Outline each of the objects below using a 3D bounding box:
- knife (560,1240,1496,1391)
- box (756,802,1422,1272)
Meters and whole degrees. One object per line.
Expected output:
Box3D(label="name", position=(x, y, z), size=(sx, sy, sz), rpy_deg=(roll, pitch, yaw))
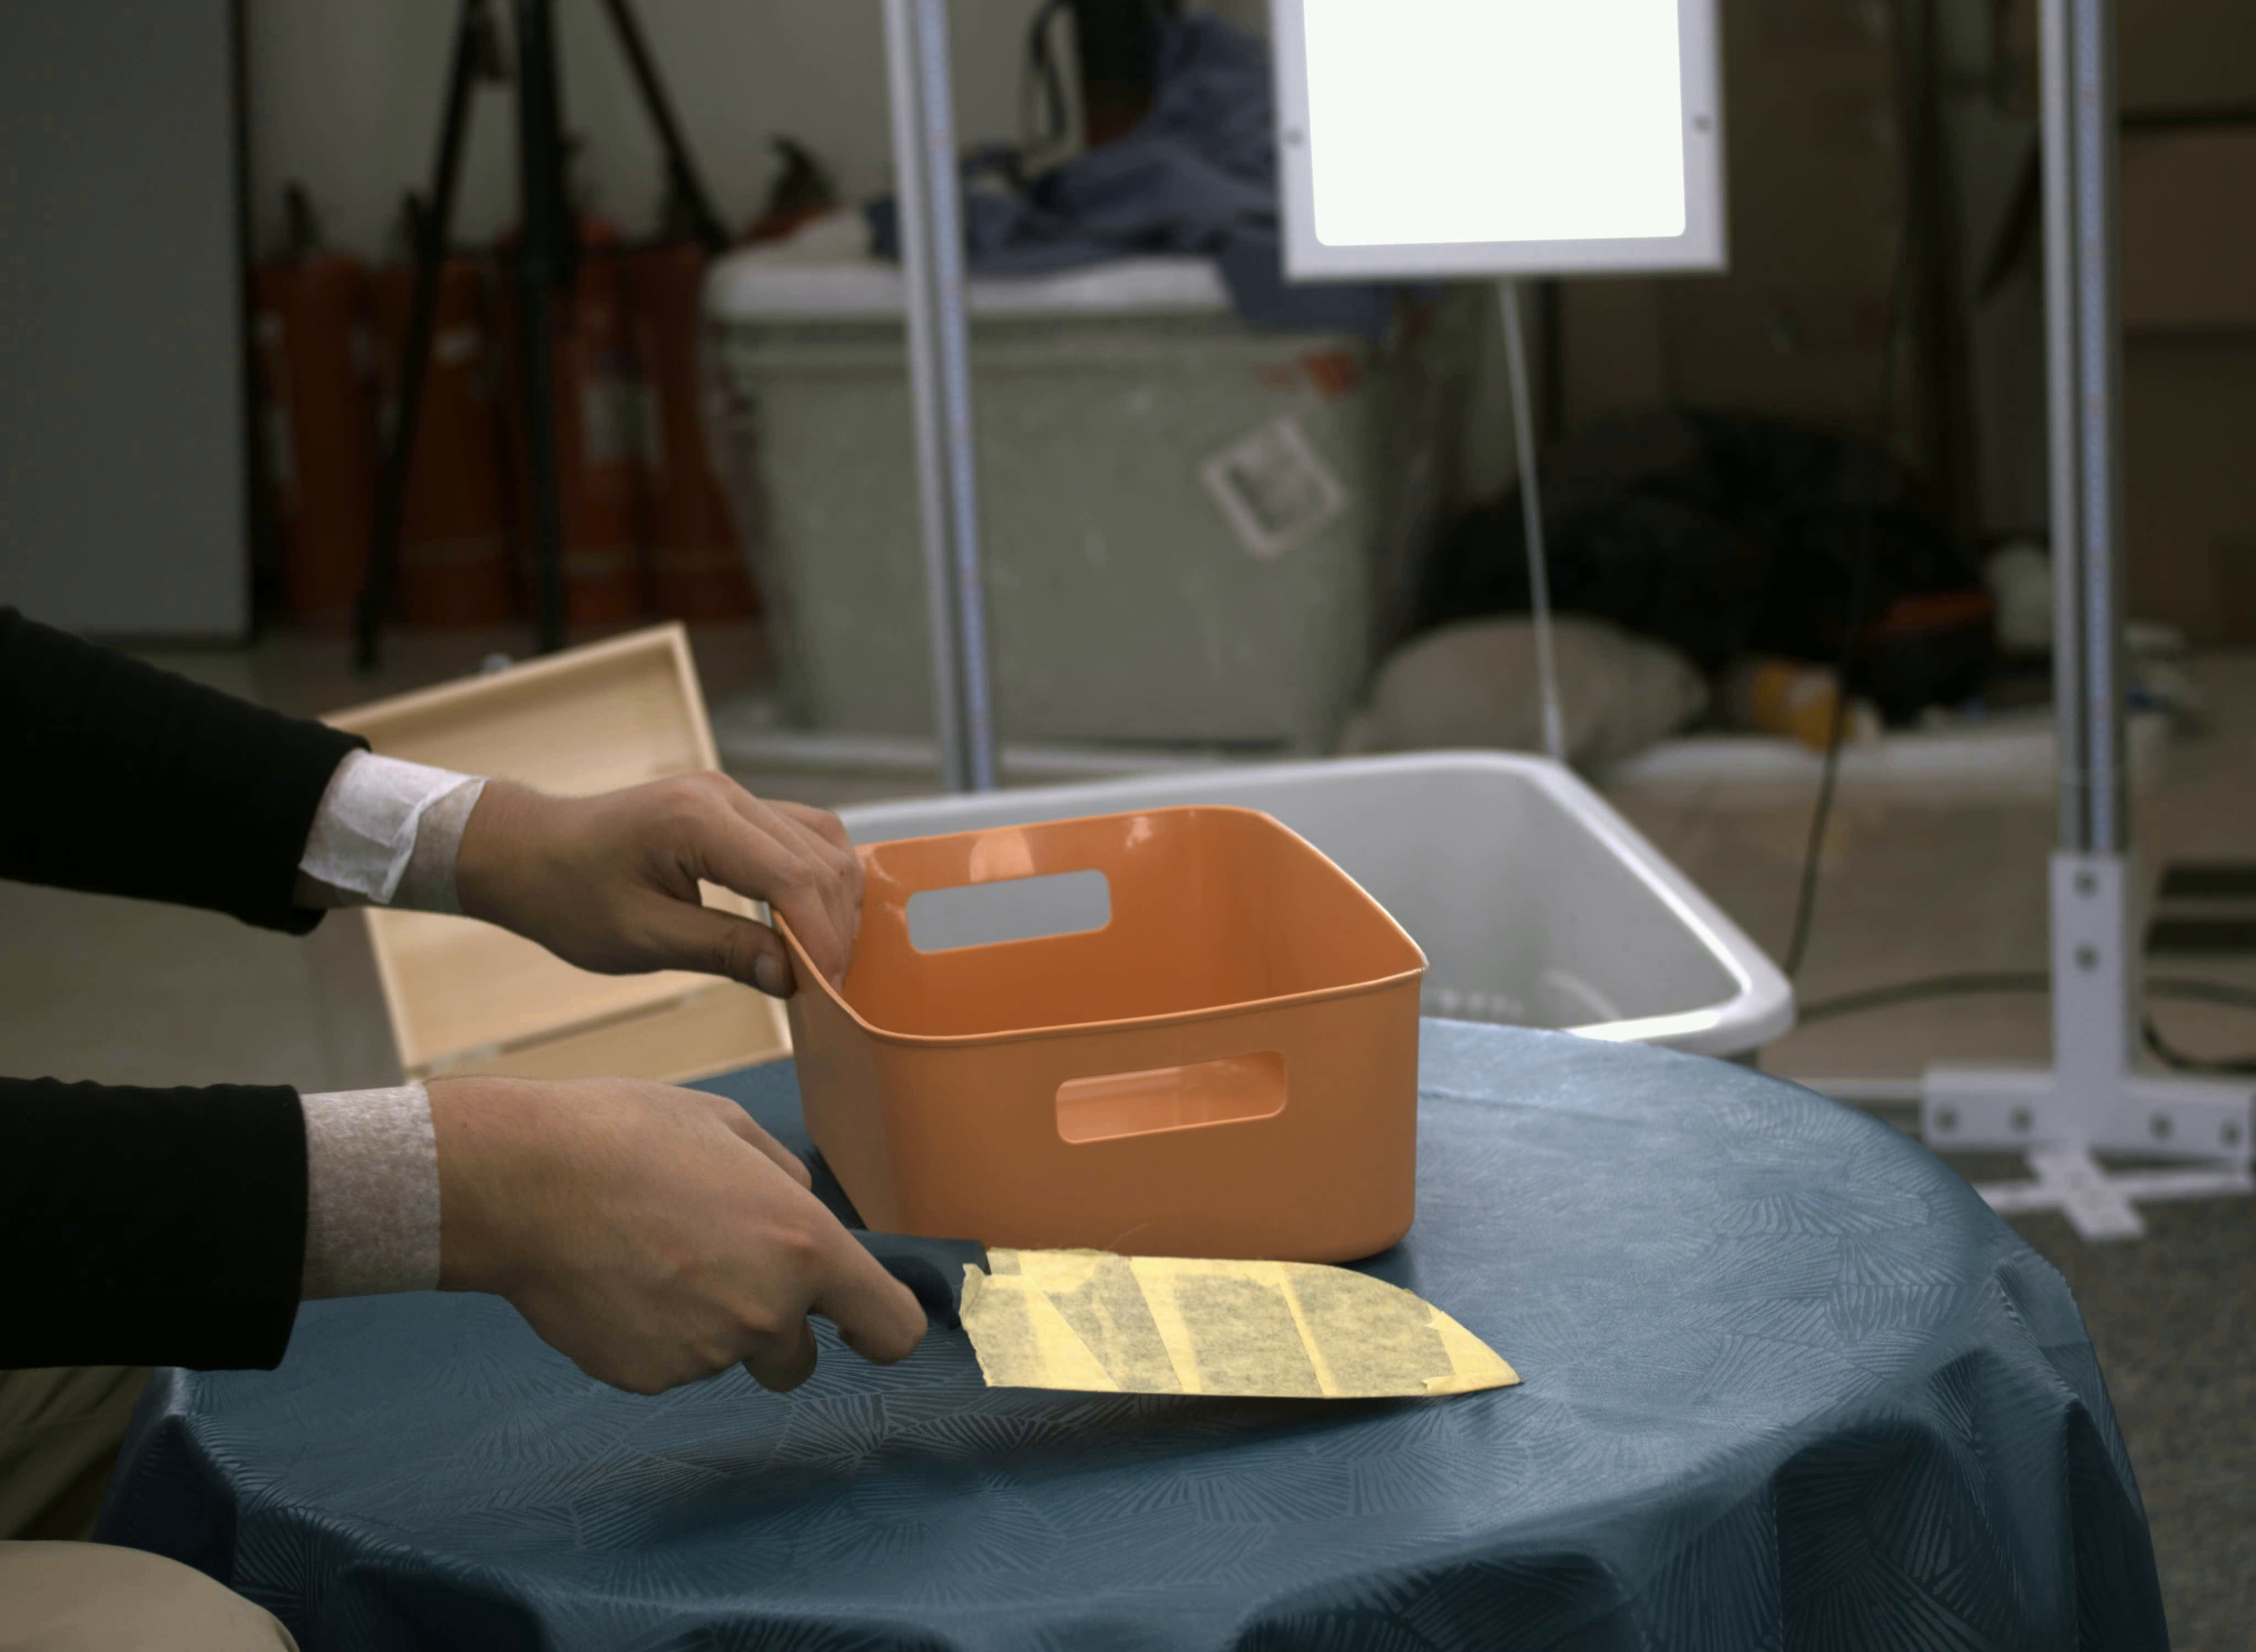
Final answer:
Box3D(label="knife", position=(-0.027, 0.150, 1.668), size=(0.286, 0.027, 0.081), rpy_deg=(3, 25, -10))
Box3D(label="box", position=(-0.016, 0.077, 1.890), size=(0.197, 0.103, 0.275), rpy_deg=(-7, 14, -11))
